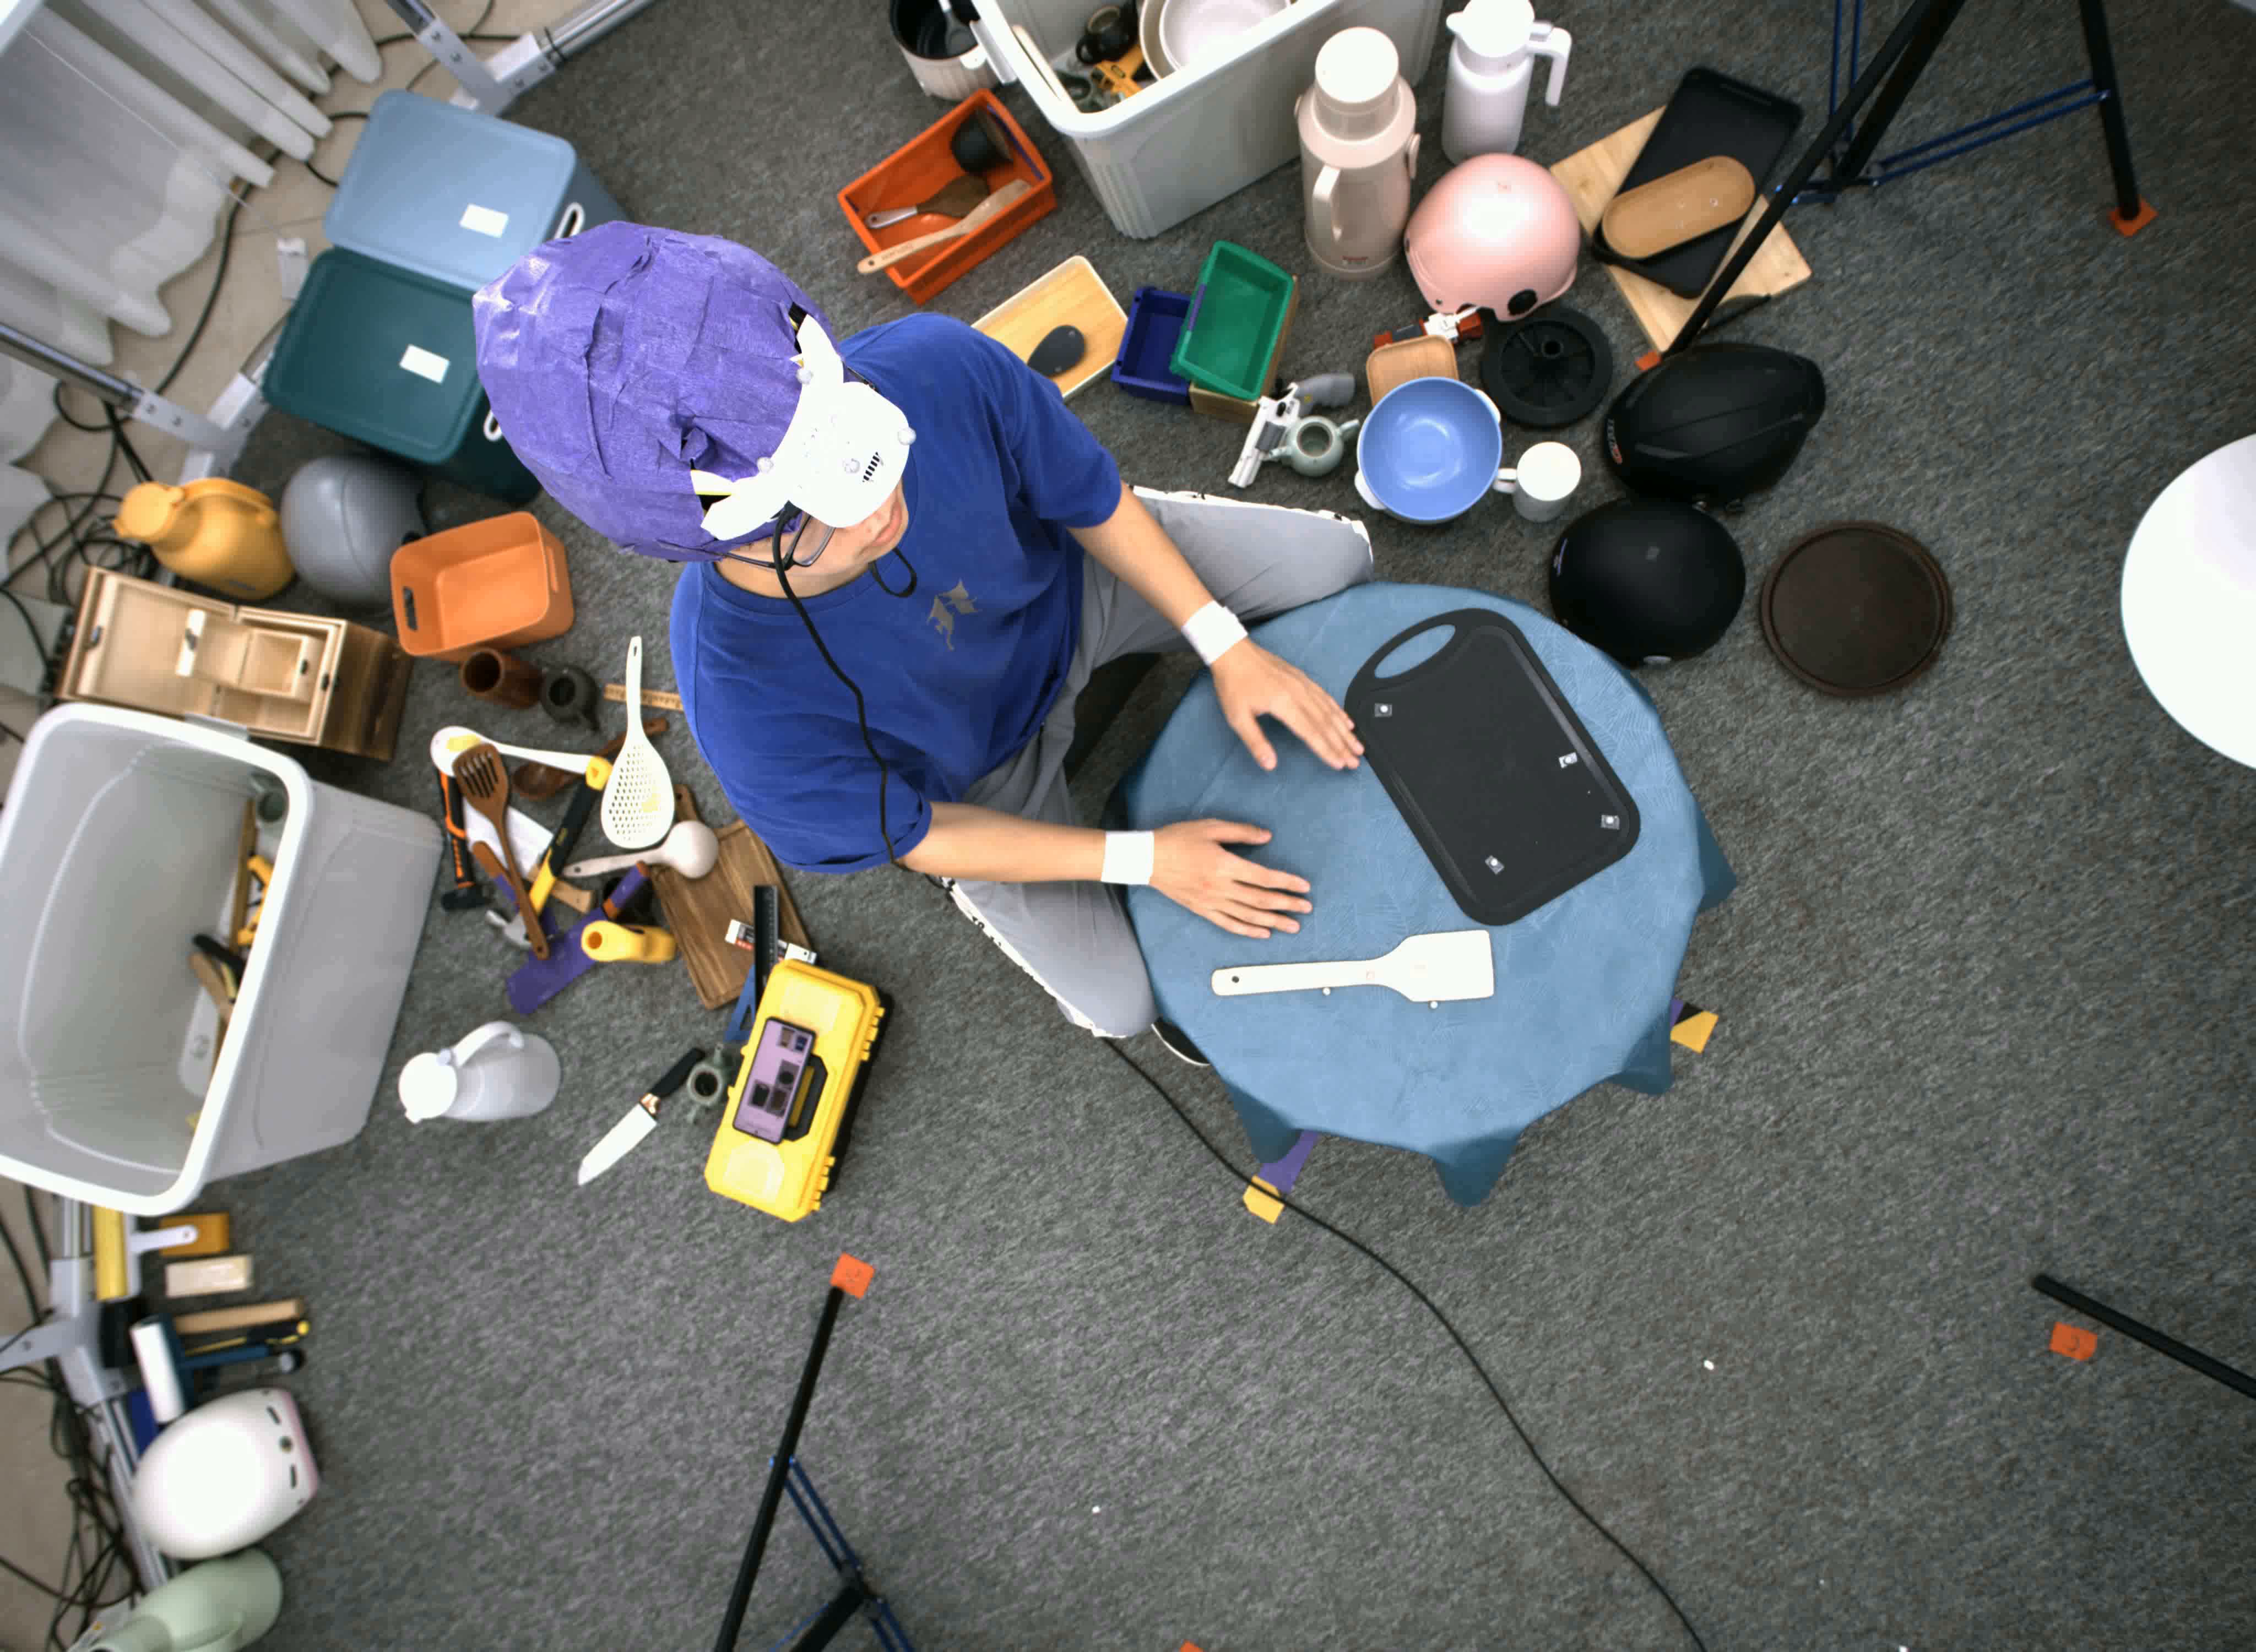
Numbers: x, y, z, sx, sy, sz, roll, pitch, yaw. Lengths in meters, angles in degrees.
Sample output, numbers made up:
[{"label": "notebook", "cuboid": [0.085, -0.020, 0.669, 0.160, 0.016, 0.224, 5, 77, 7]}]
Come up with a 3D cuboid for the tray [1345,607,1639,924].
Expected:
[{"label": "tray", "cuboid": [0.375, -0.074, 1.442, 0.212, 0.010, 0.323, -31, 82, 8]}]

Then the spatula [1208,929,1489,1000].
[{"label": "spatula", "cuboid": [0.230, 0.153, 1.457, 0.294, 0.010, 0.072, -5, 87, 10]}]
